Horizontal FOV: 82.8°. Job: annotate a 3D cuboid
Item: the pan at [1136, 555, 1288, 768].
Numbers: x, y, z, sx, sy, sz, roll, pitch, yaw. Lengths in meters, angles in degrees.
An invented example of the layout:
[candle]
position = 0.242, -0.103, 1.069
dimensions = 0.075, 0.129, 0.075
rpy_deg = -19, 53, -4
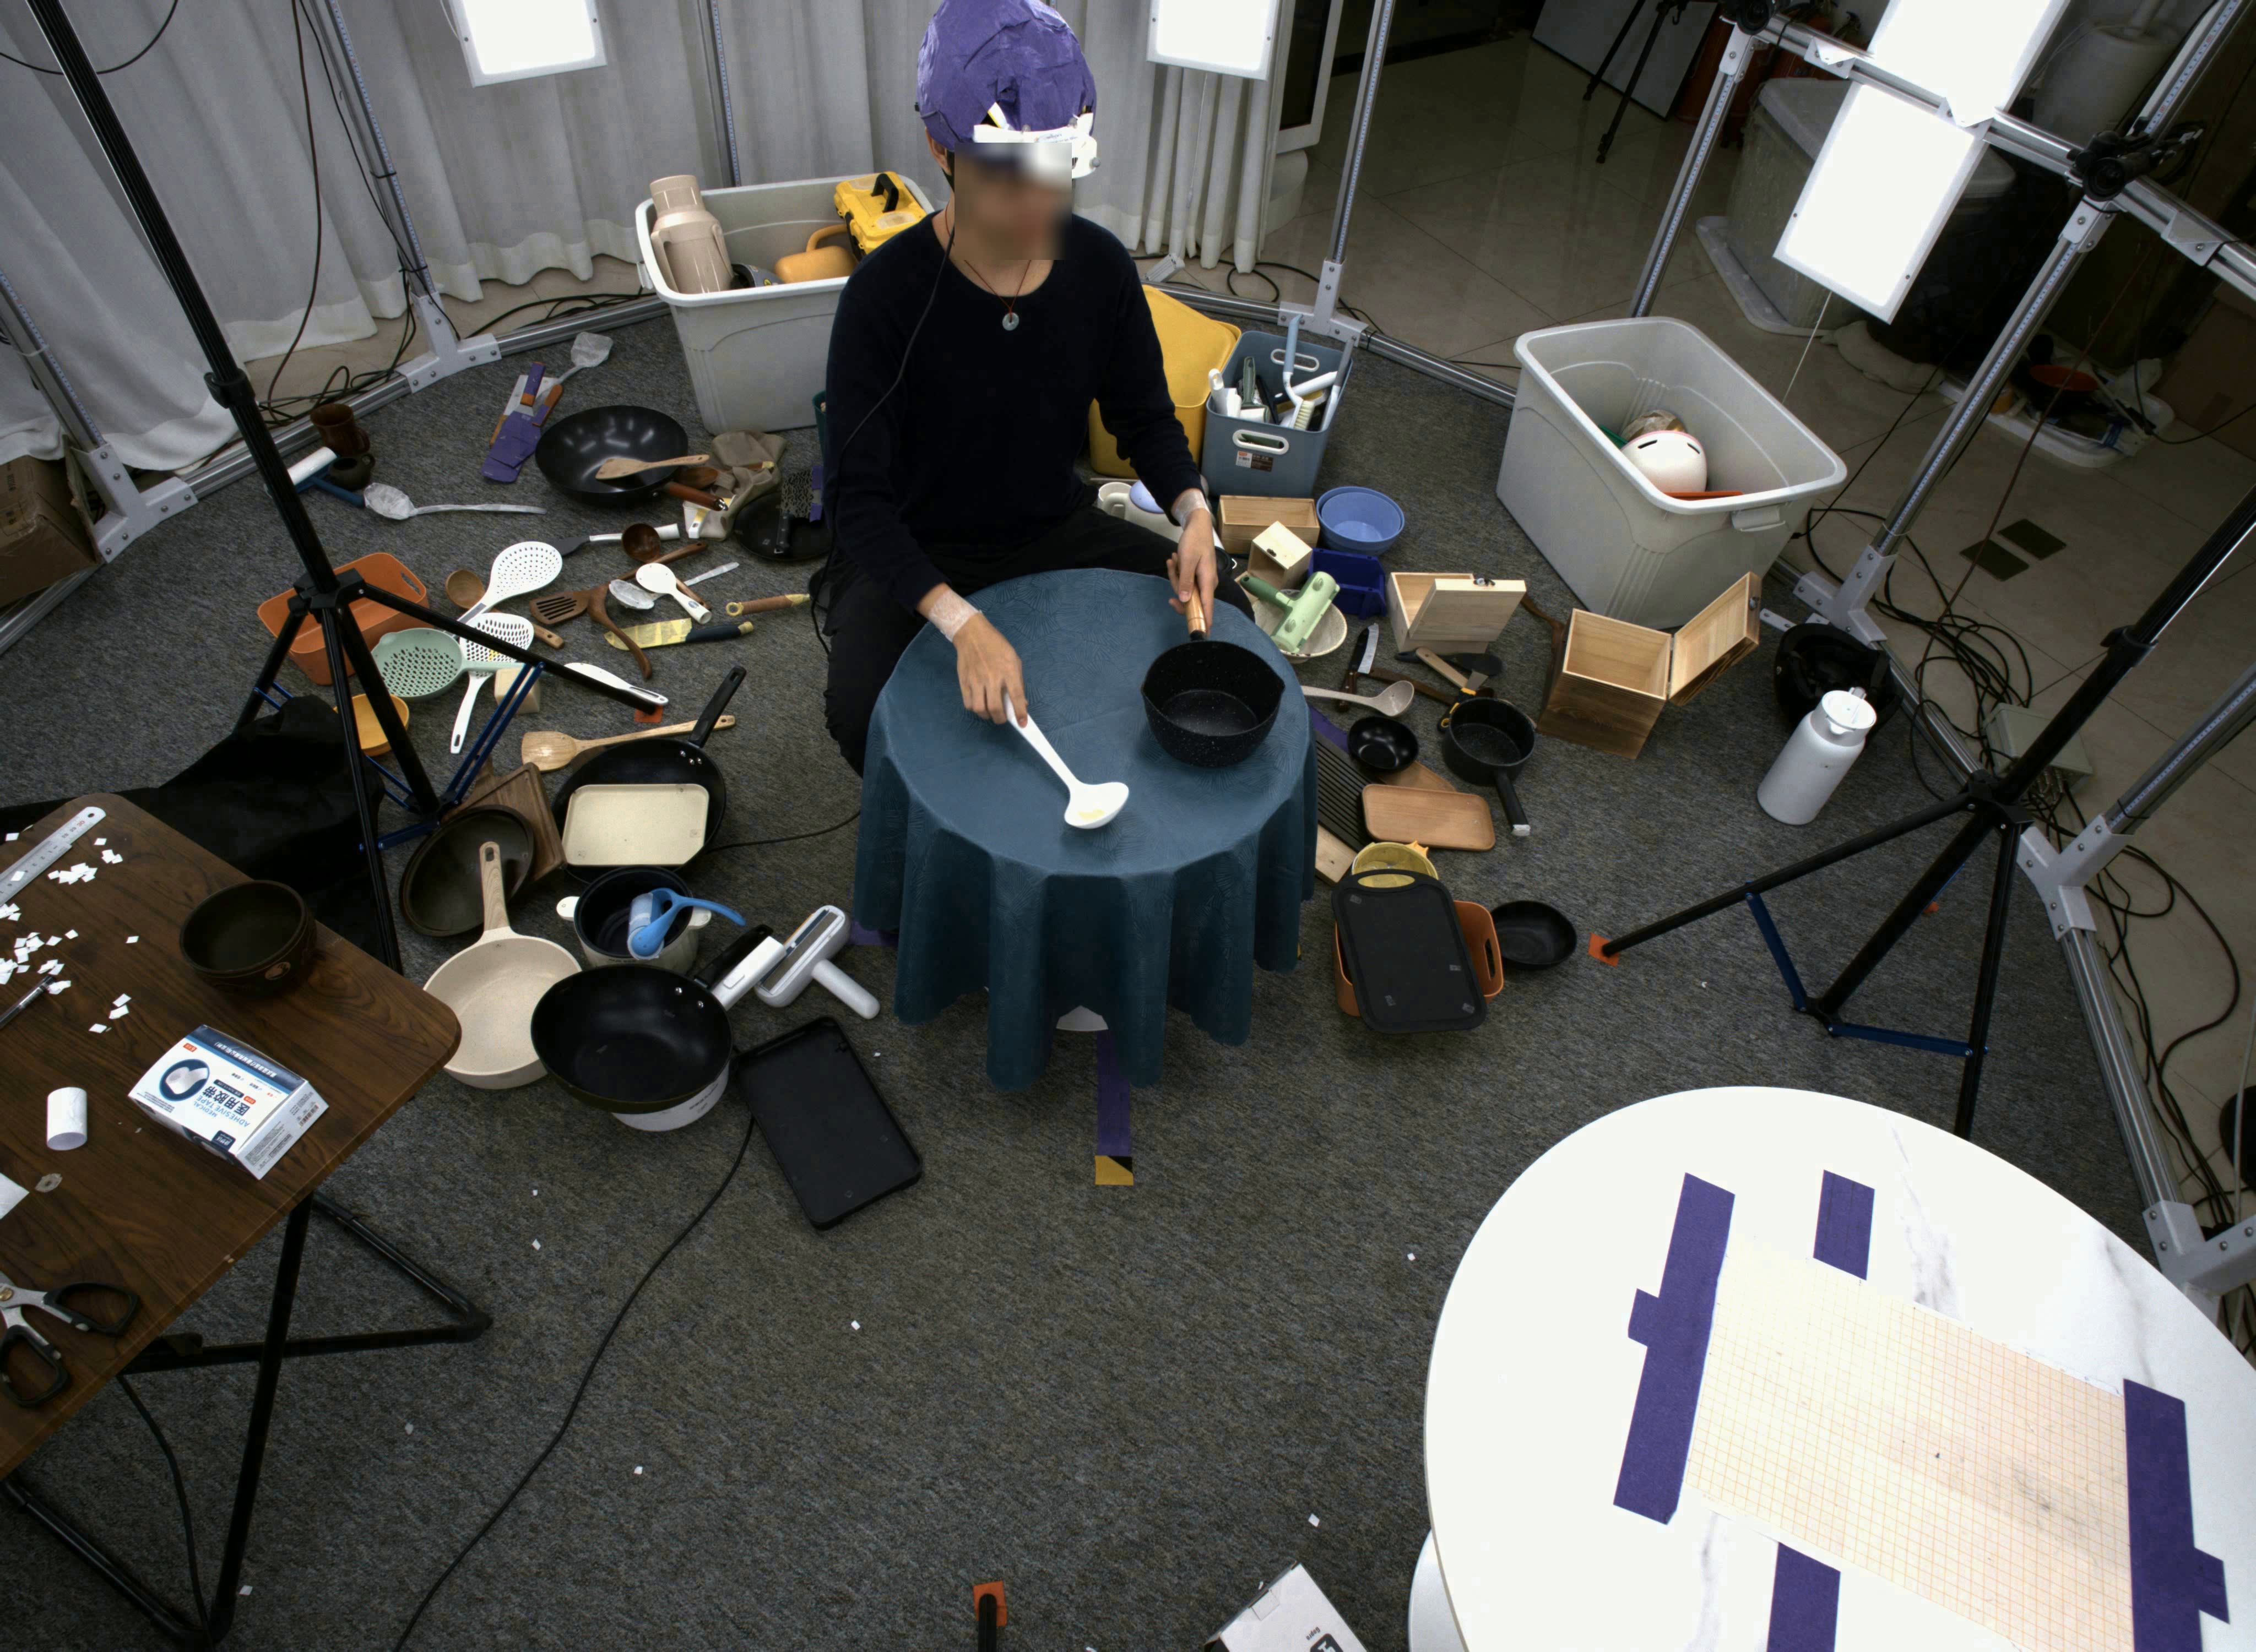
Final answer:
[pan]
position = 0.102, -0.231, 1.806
dimensions = 0.207, 0.105, 0.351
rpy_deg = -5, 51, -7

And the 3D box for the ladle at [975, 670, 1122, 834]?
[ladle]
position = -0.114, -0.103, 1.690
dimensions = 0.090, 0.068, 0.297
rpy_deg = -36, 67, -6
